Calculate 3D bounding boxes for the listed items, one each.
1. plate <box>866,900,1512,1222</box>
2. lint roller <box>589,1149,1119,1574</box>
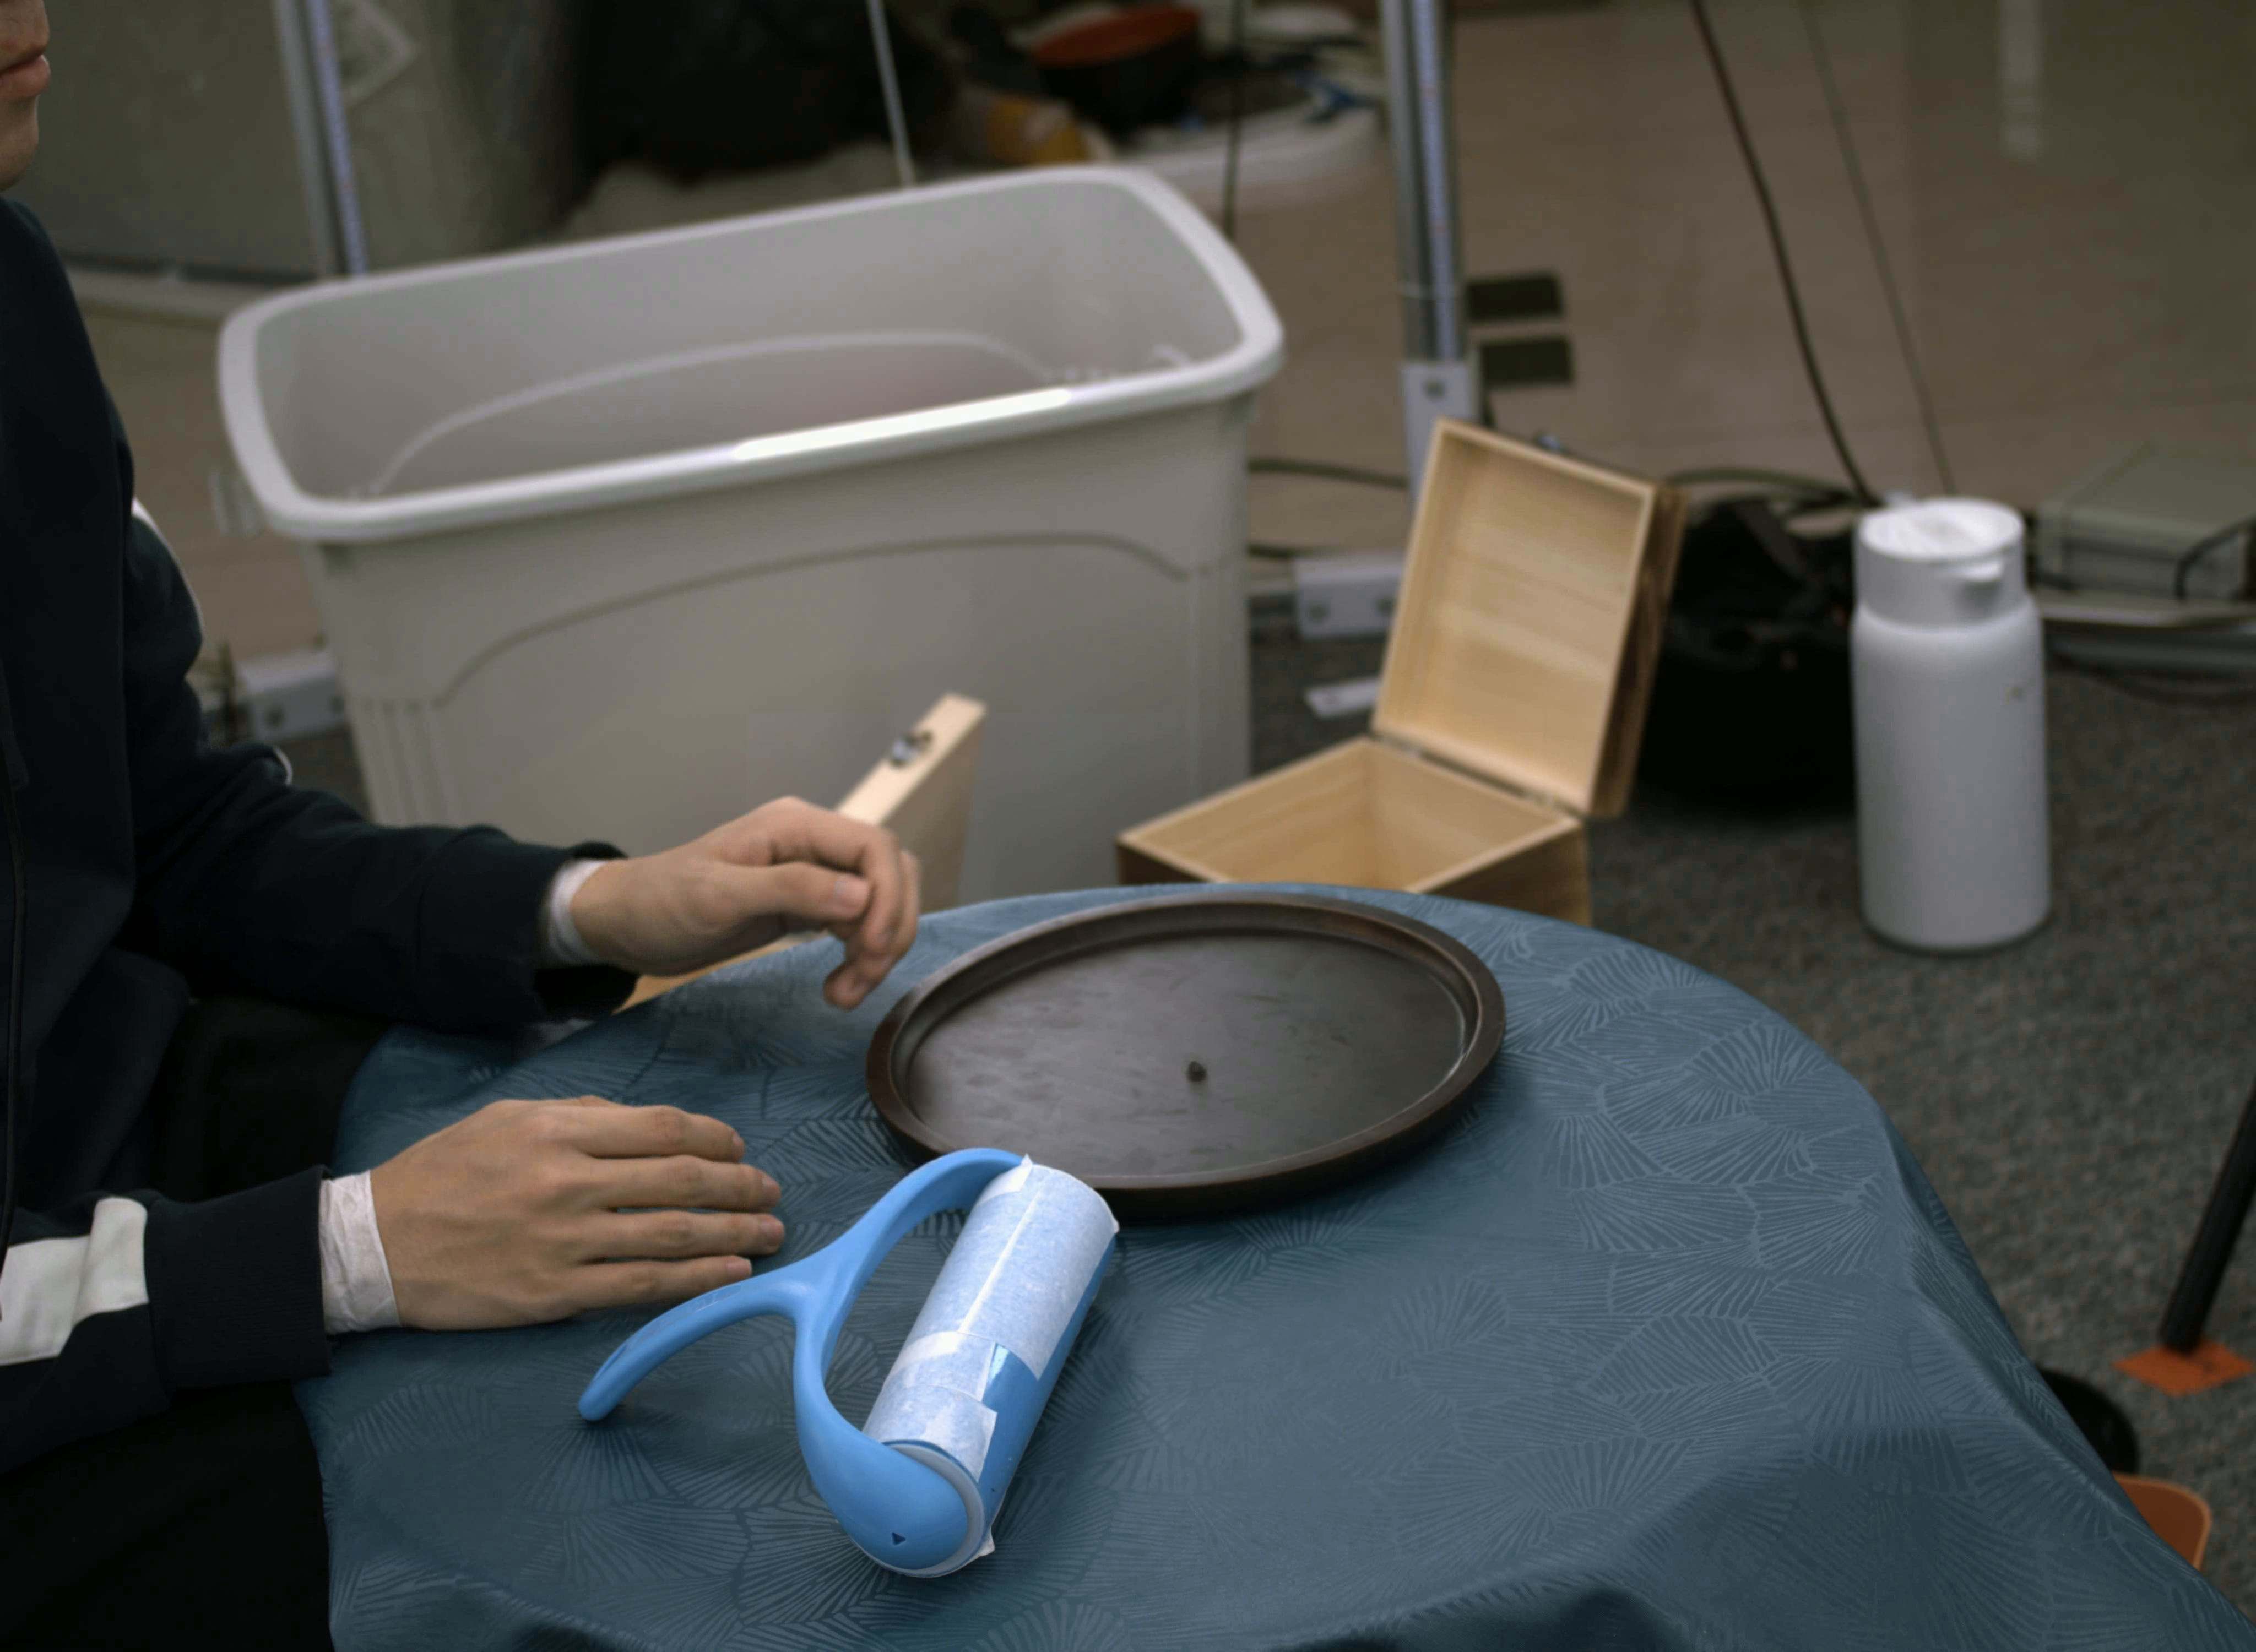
[{"bbox_3d":[0.024,0.090,2.216,0.254,0.029,0.251,-4,25,2],"label":"plate"},{"bbox_3d":[-0.108,0.187,1.999,0.180,0.069,0.225,0,27,11],"label":"lint roller"}]
